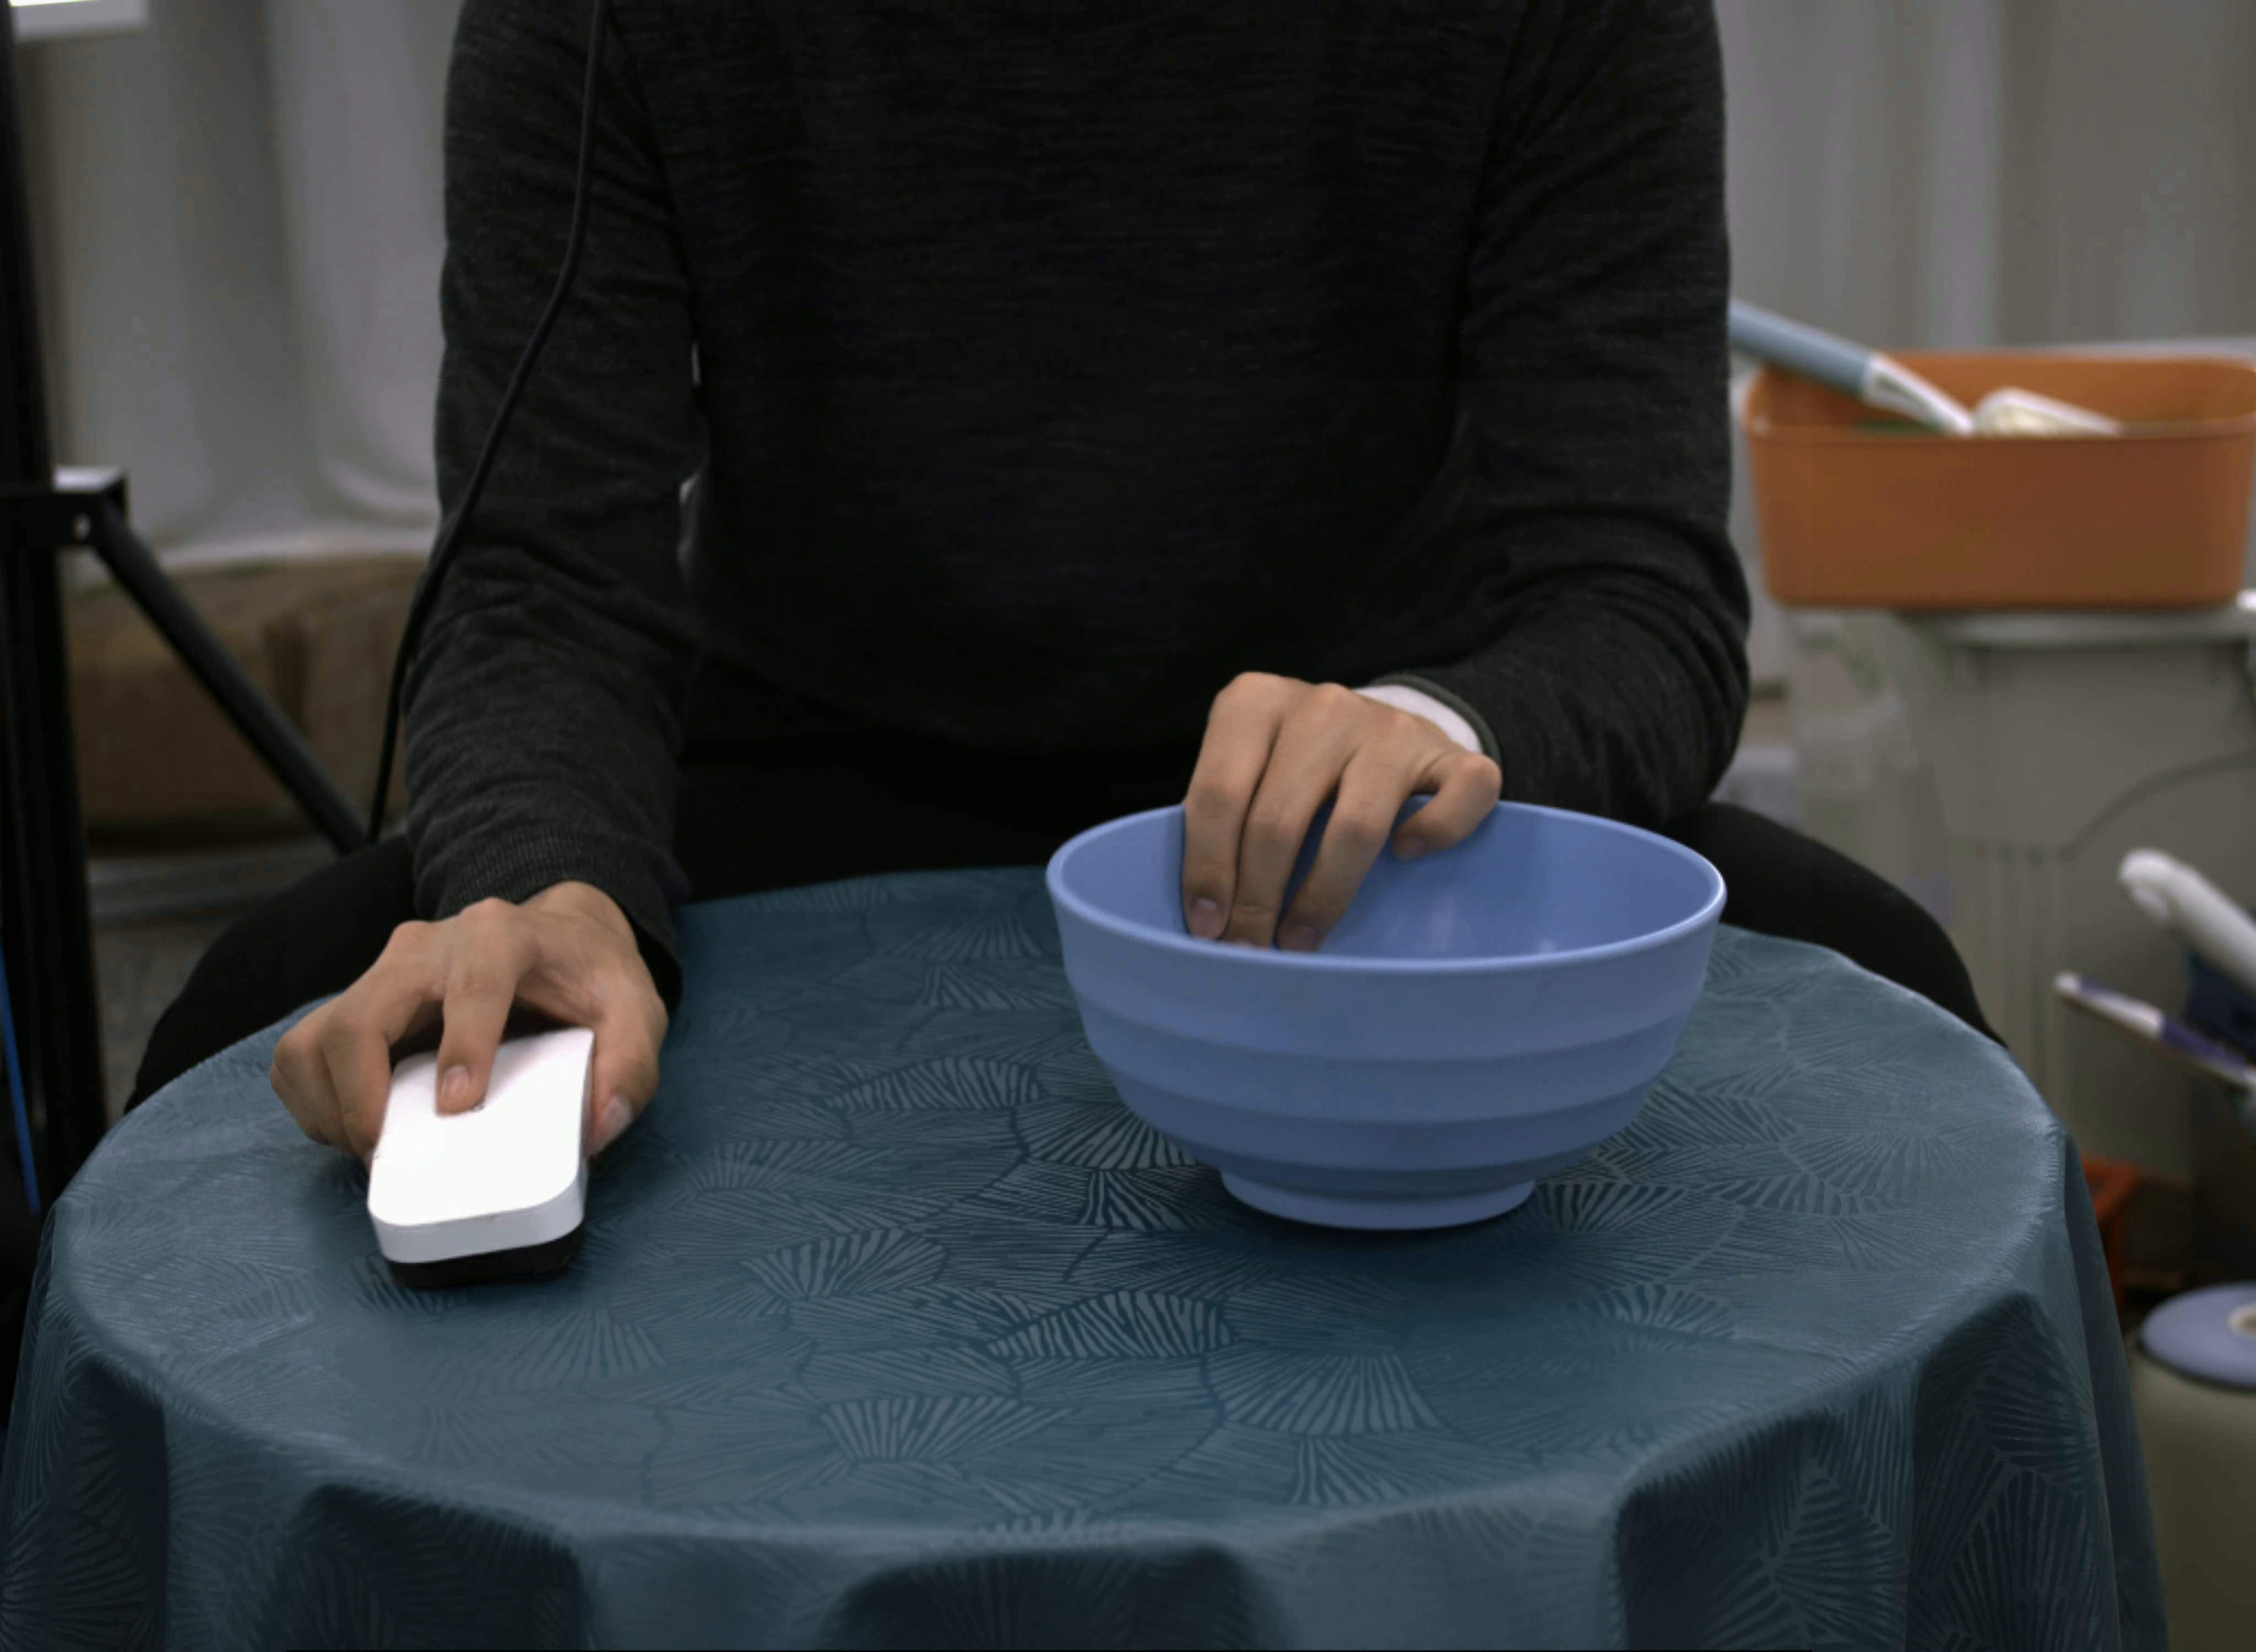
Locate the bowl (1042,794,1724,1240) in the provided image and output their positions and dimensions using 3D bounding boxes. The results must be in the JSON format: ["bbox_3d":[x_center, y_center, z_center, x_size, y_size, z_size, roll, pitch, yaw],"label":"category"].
[{"bbox_3d":[0.073,0.061,1.536,0.195,0.095,0.197,-1,15,-1],"label":"bowl"}]

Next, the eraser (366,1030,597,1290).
[{"bbox_3d":[-0.186,0.094,1.562,0.063,0.034,0.132,-6,21,1],"label":"eraser"}]
